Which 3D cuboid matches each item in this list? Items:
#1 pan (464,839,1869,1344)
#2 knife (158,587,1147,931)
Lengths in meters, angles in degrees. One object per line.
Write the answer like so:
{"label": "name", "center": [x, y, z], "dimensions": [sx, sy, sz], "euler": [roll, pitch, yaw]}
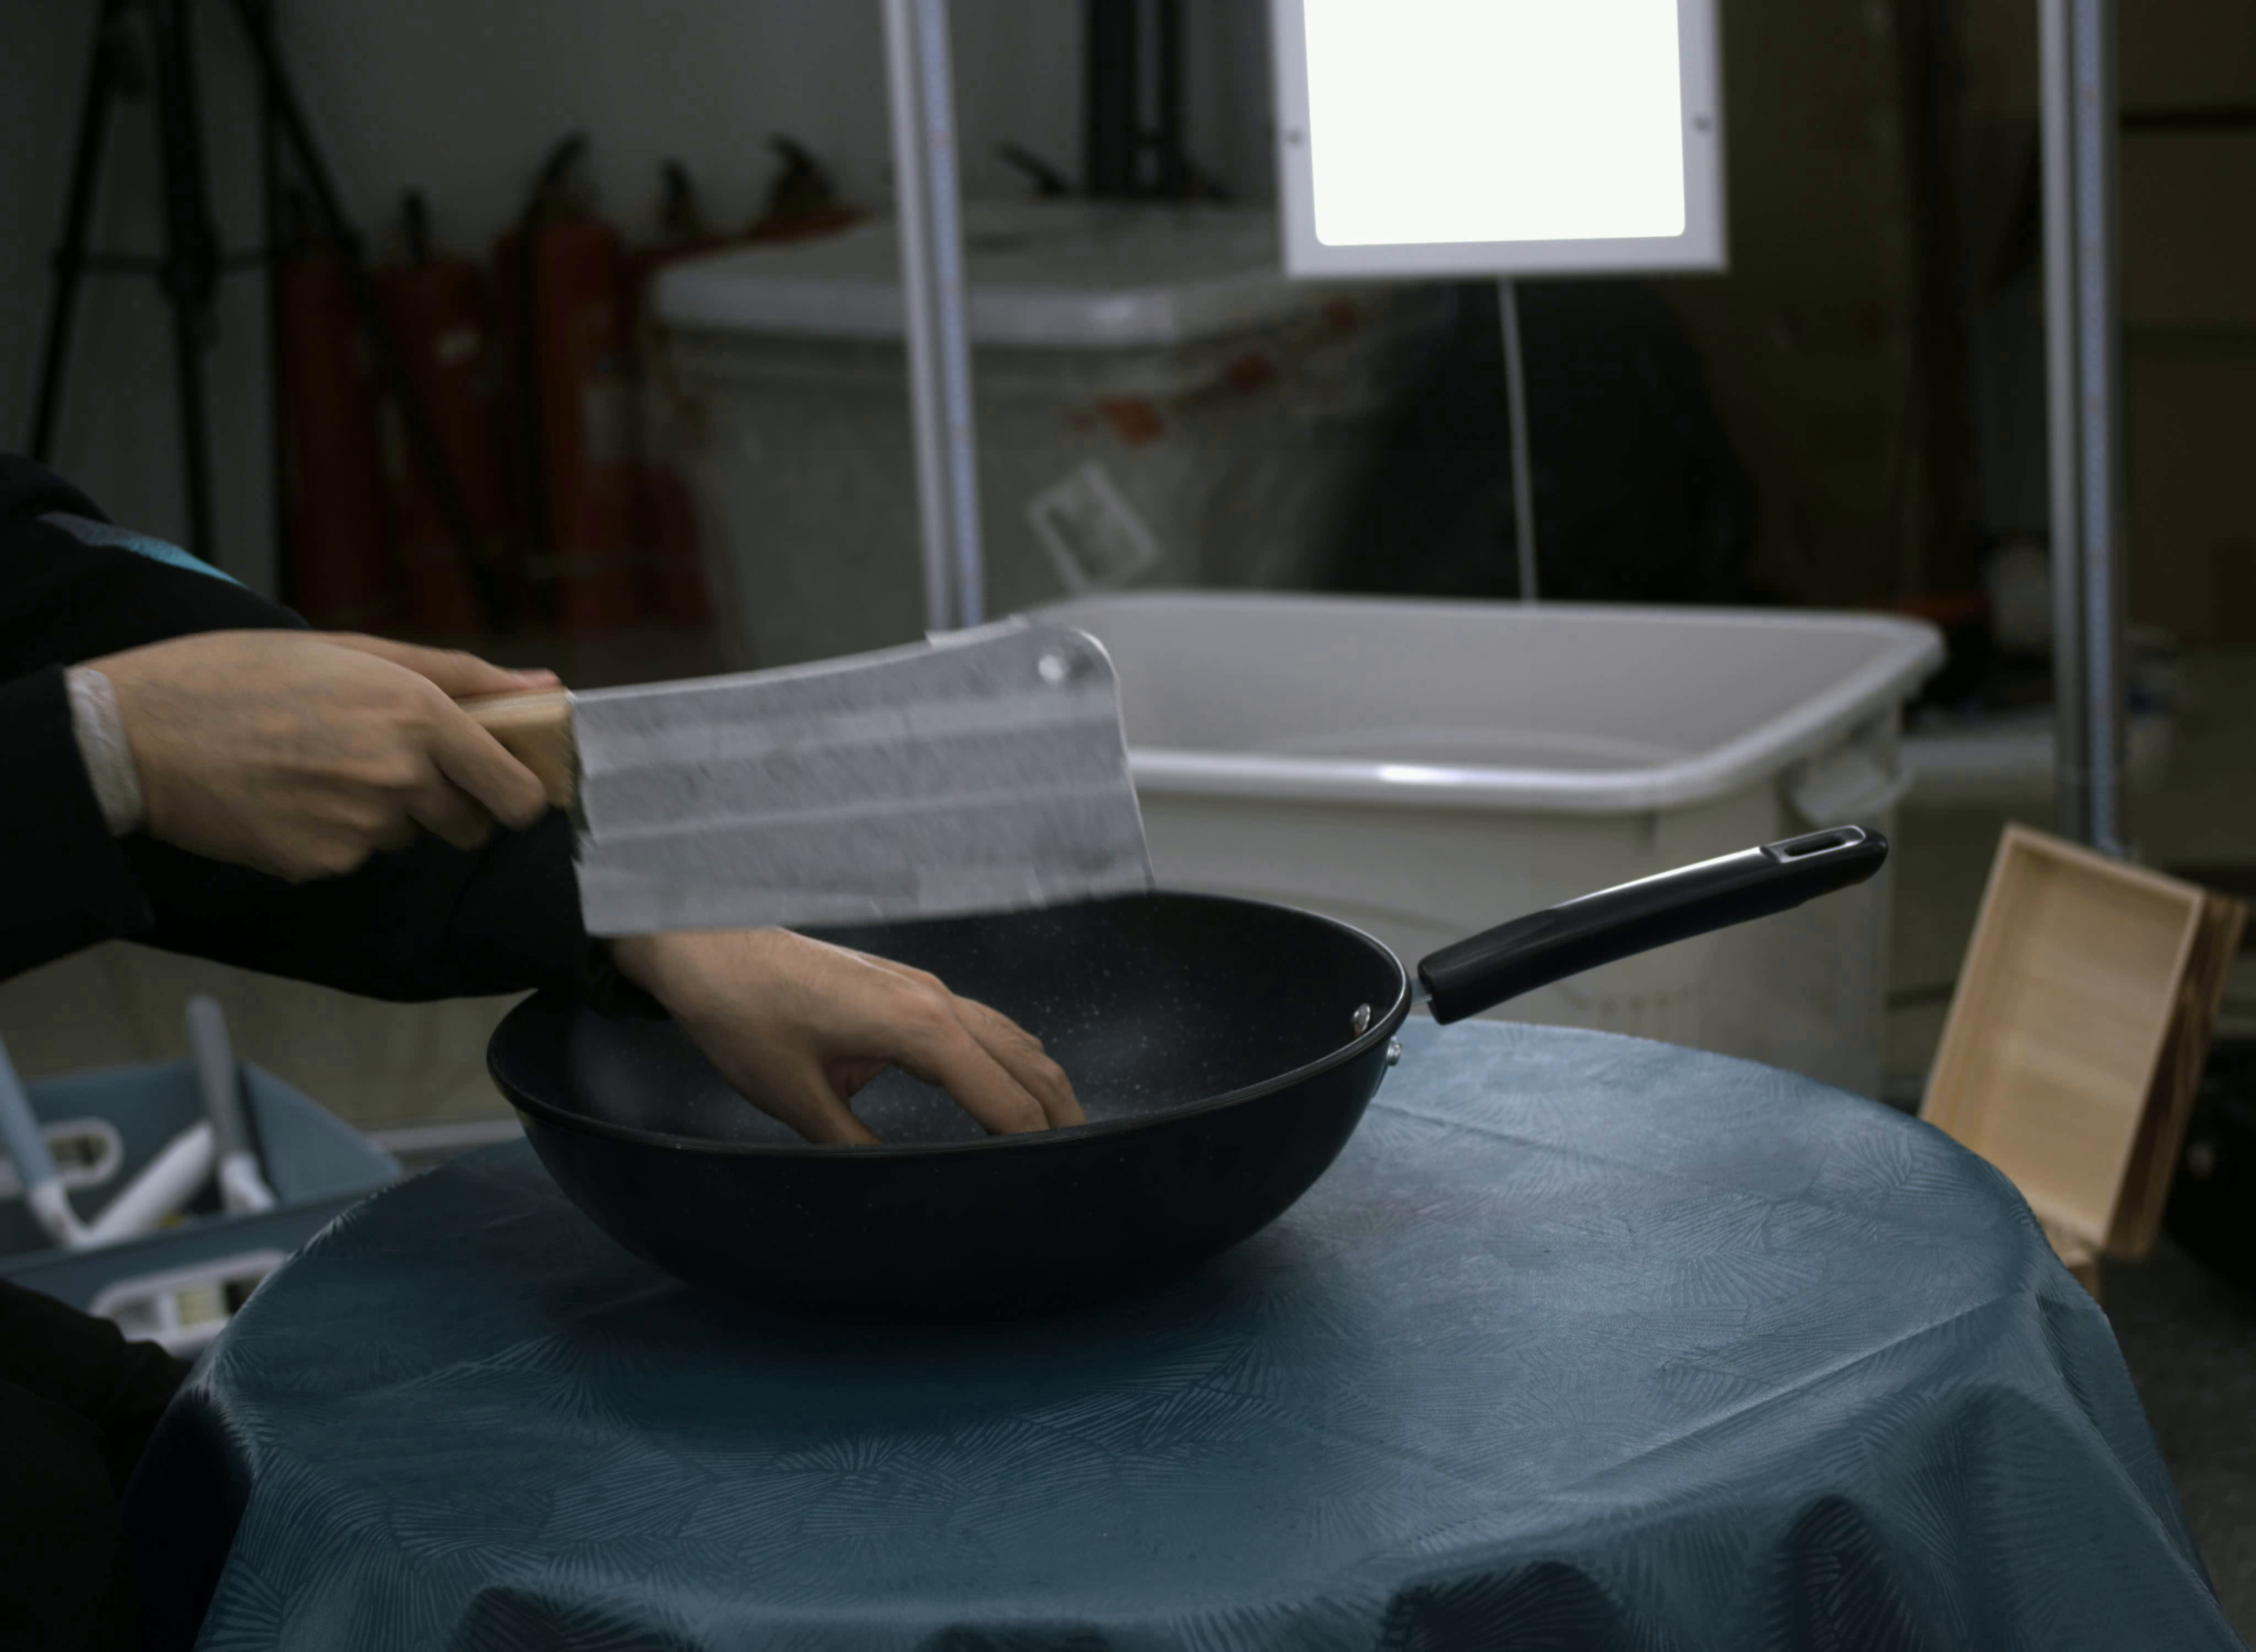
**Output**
{"label": "pan", "center": [0.018, 0.084, 1.844], "dimensions": [0.474, 0.112, 0.311], "euler": [-6, 16, -4]}
{"label": "knife", "center": [-0.152, -0.018, 1.763], "dimensions": [0.315, 0.114, 0.021], "euler": [-3, 26, 3]}
